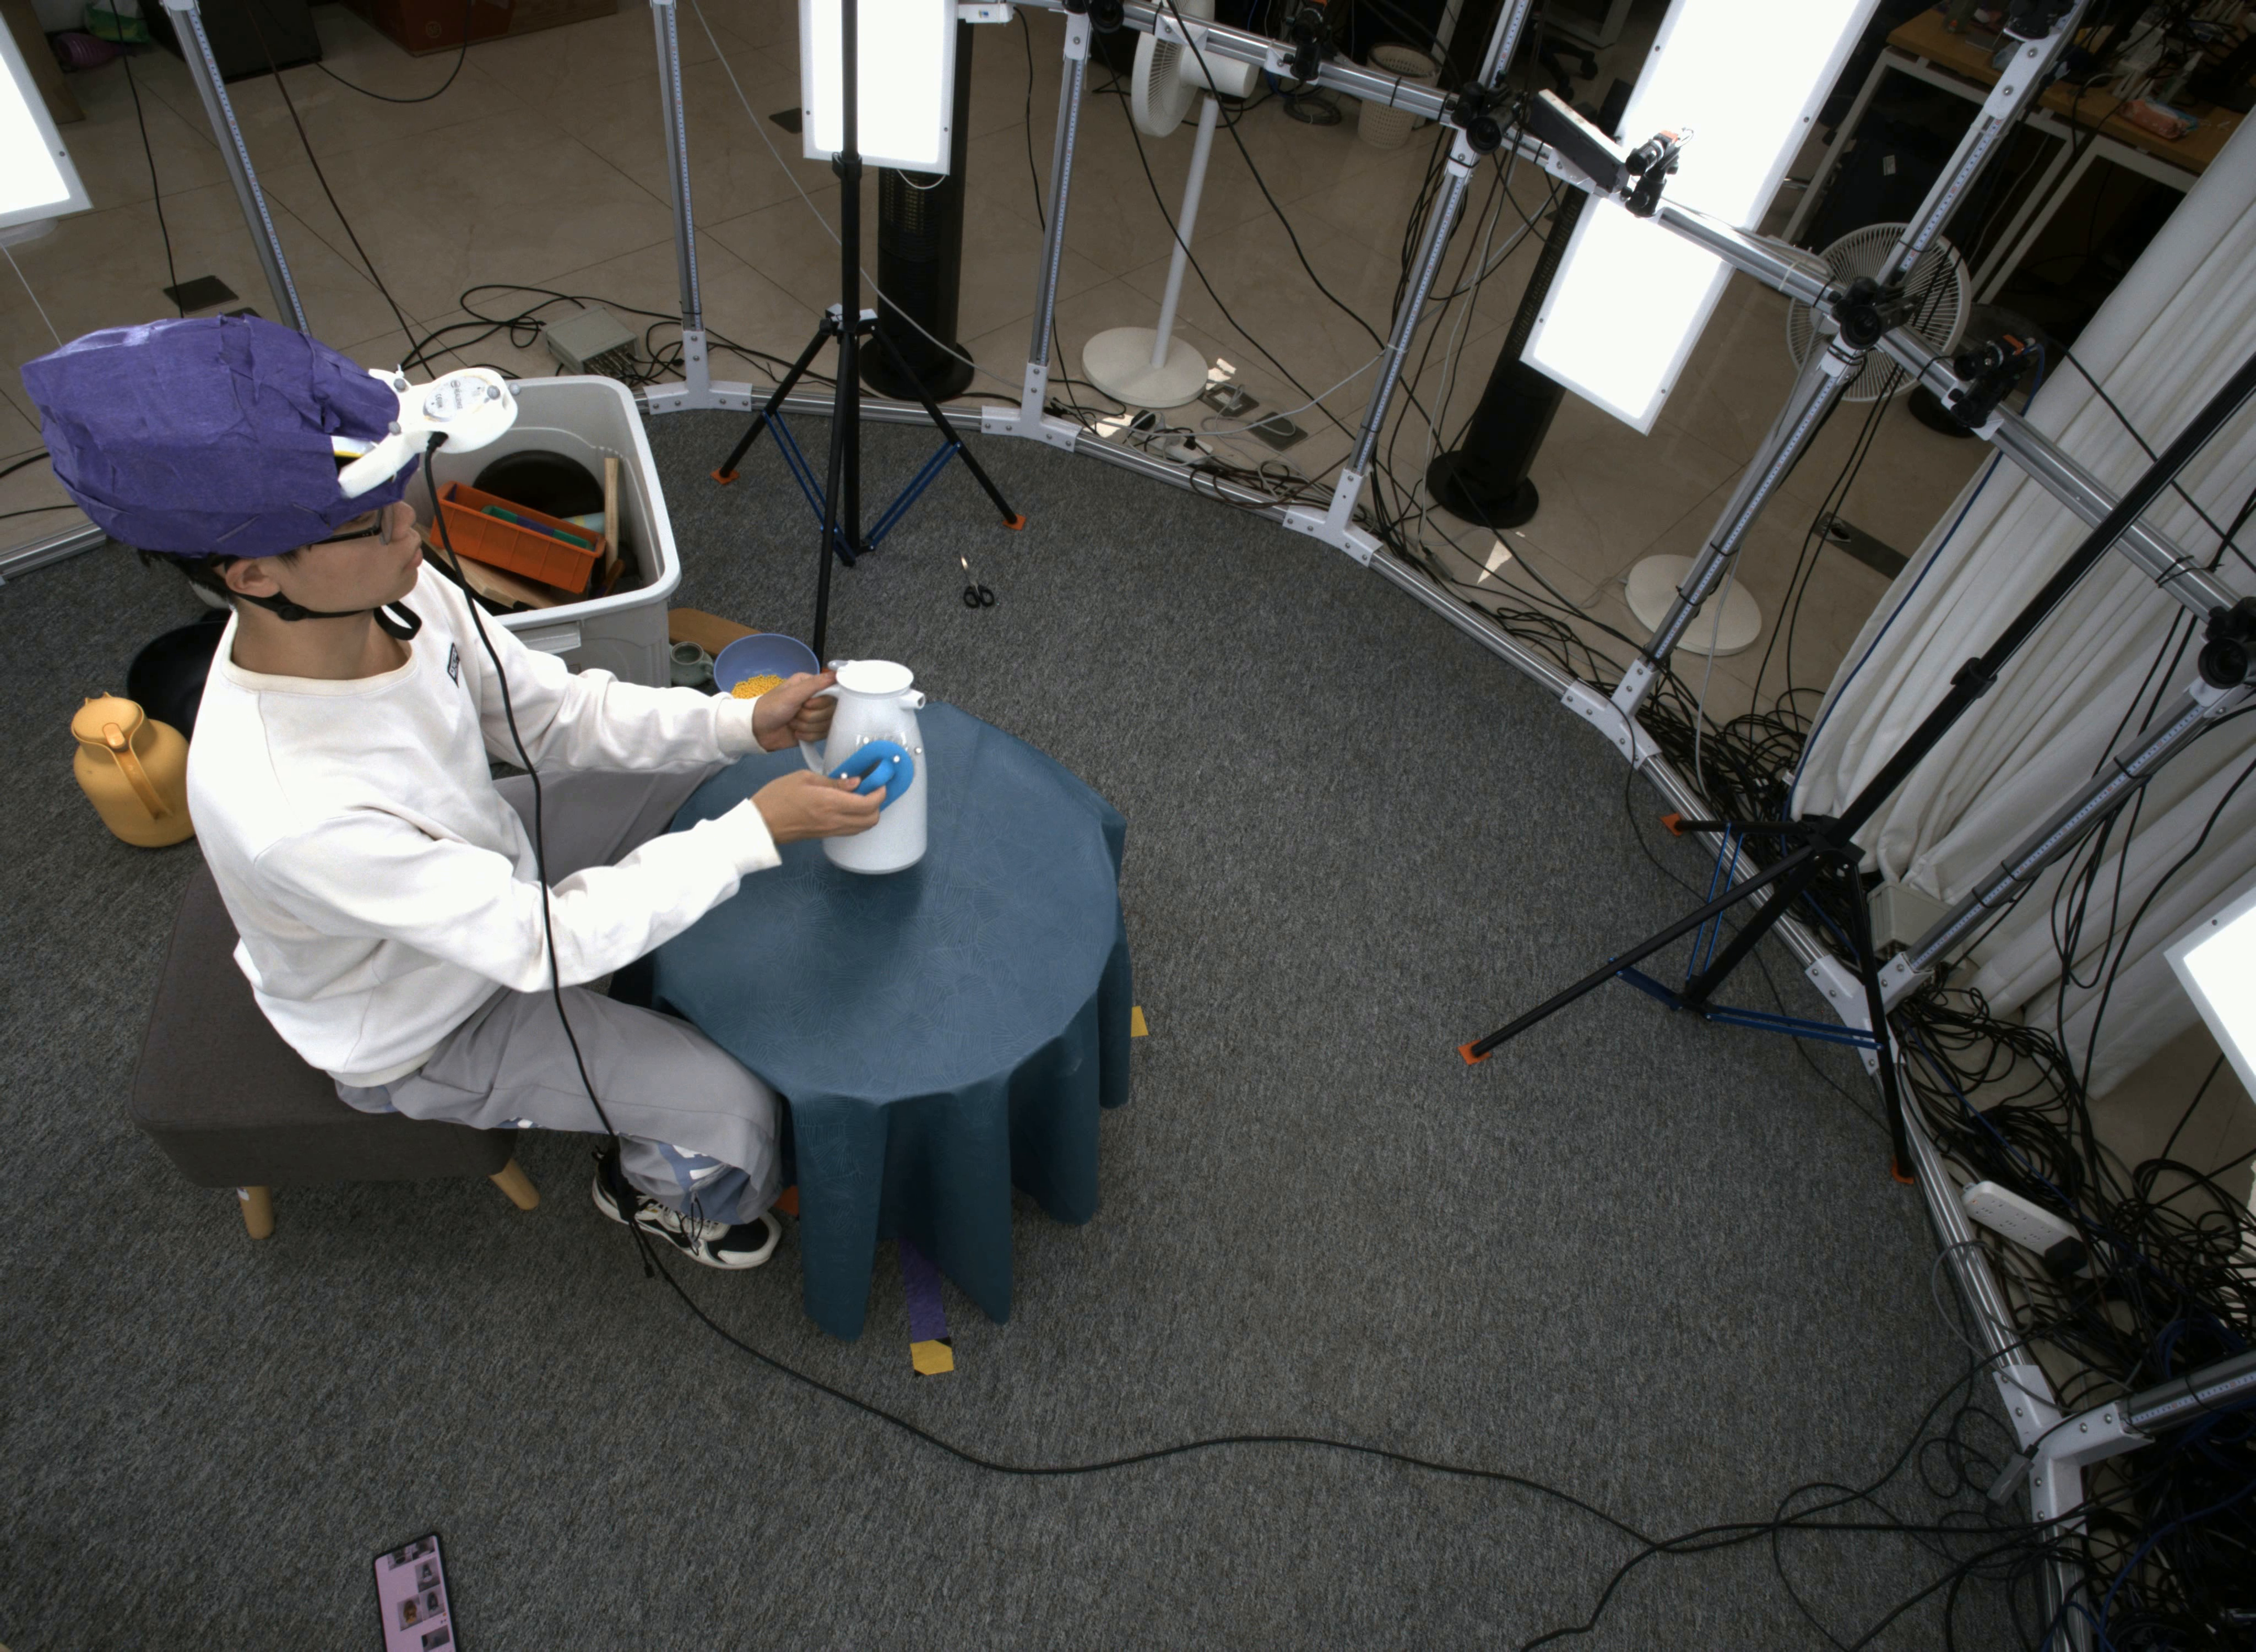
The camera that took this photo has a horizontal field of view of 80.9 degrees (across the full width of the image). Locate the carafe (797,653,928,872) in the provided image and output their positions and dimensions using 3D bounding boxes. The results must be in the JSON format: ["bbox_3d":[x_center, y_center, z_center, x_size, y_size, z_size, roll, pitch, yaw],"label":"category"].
[{"bbox_3d":[-0.333,-0.088,1.614,0.164,0.256,0.131,12,32,12],"label":"carafe"}]

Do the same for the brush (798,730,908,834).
[{"bbox_3d":[-0.320,-0.046,1.511,0.141,0.087,0.062,-35,21,8],"label":"brush"}]
